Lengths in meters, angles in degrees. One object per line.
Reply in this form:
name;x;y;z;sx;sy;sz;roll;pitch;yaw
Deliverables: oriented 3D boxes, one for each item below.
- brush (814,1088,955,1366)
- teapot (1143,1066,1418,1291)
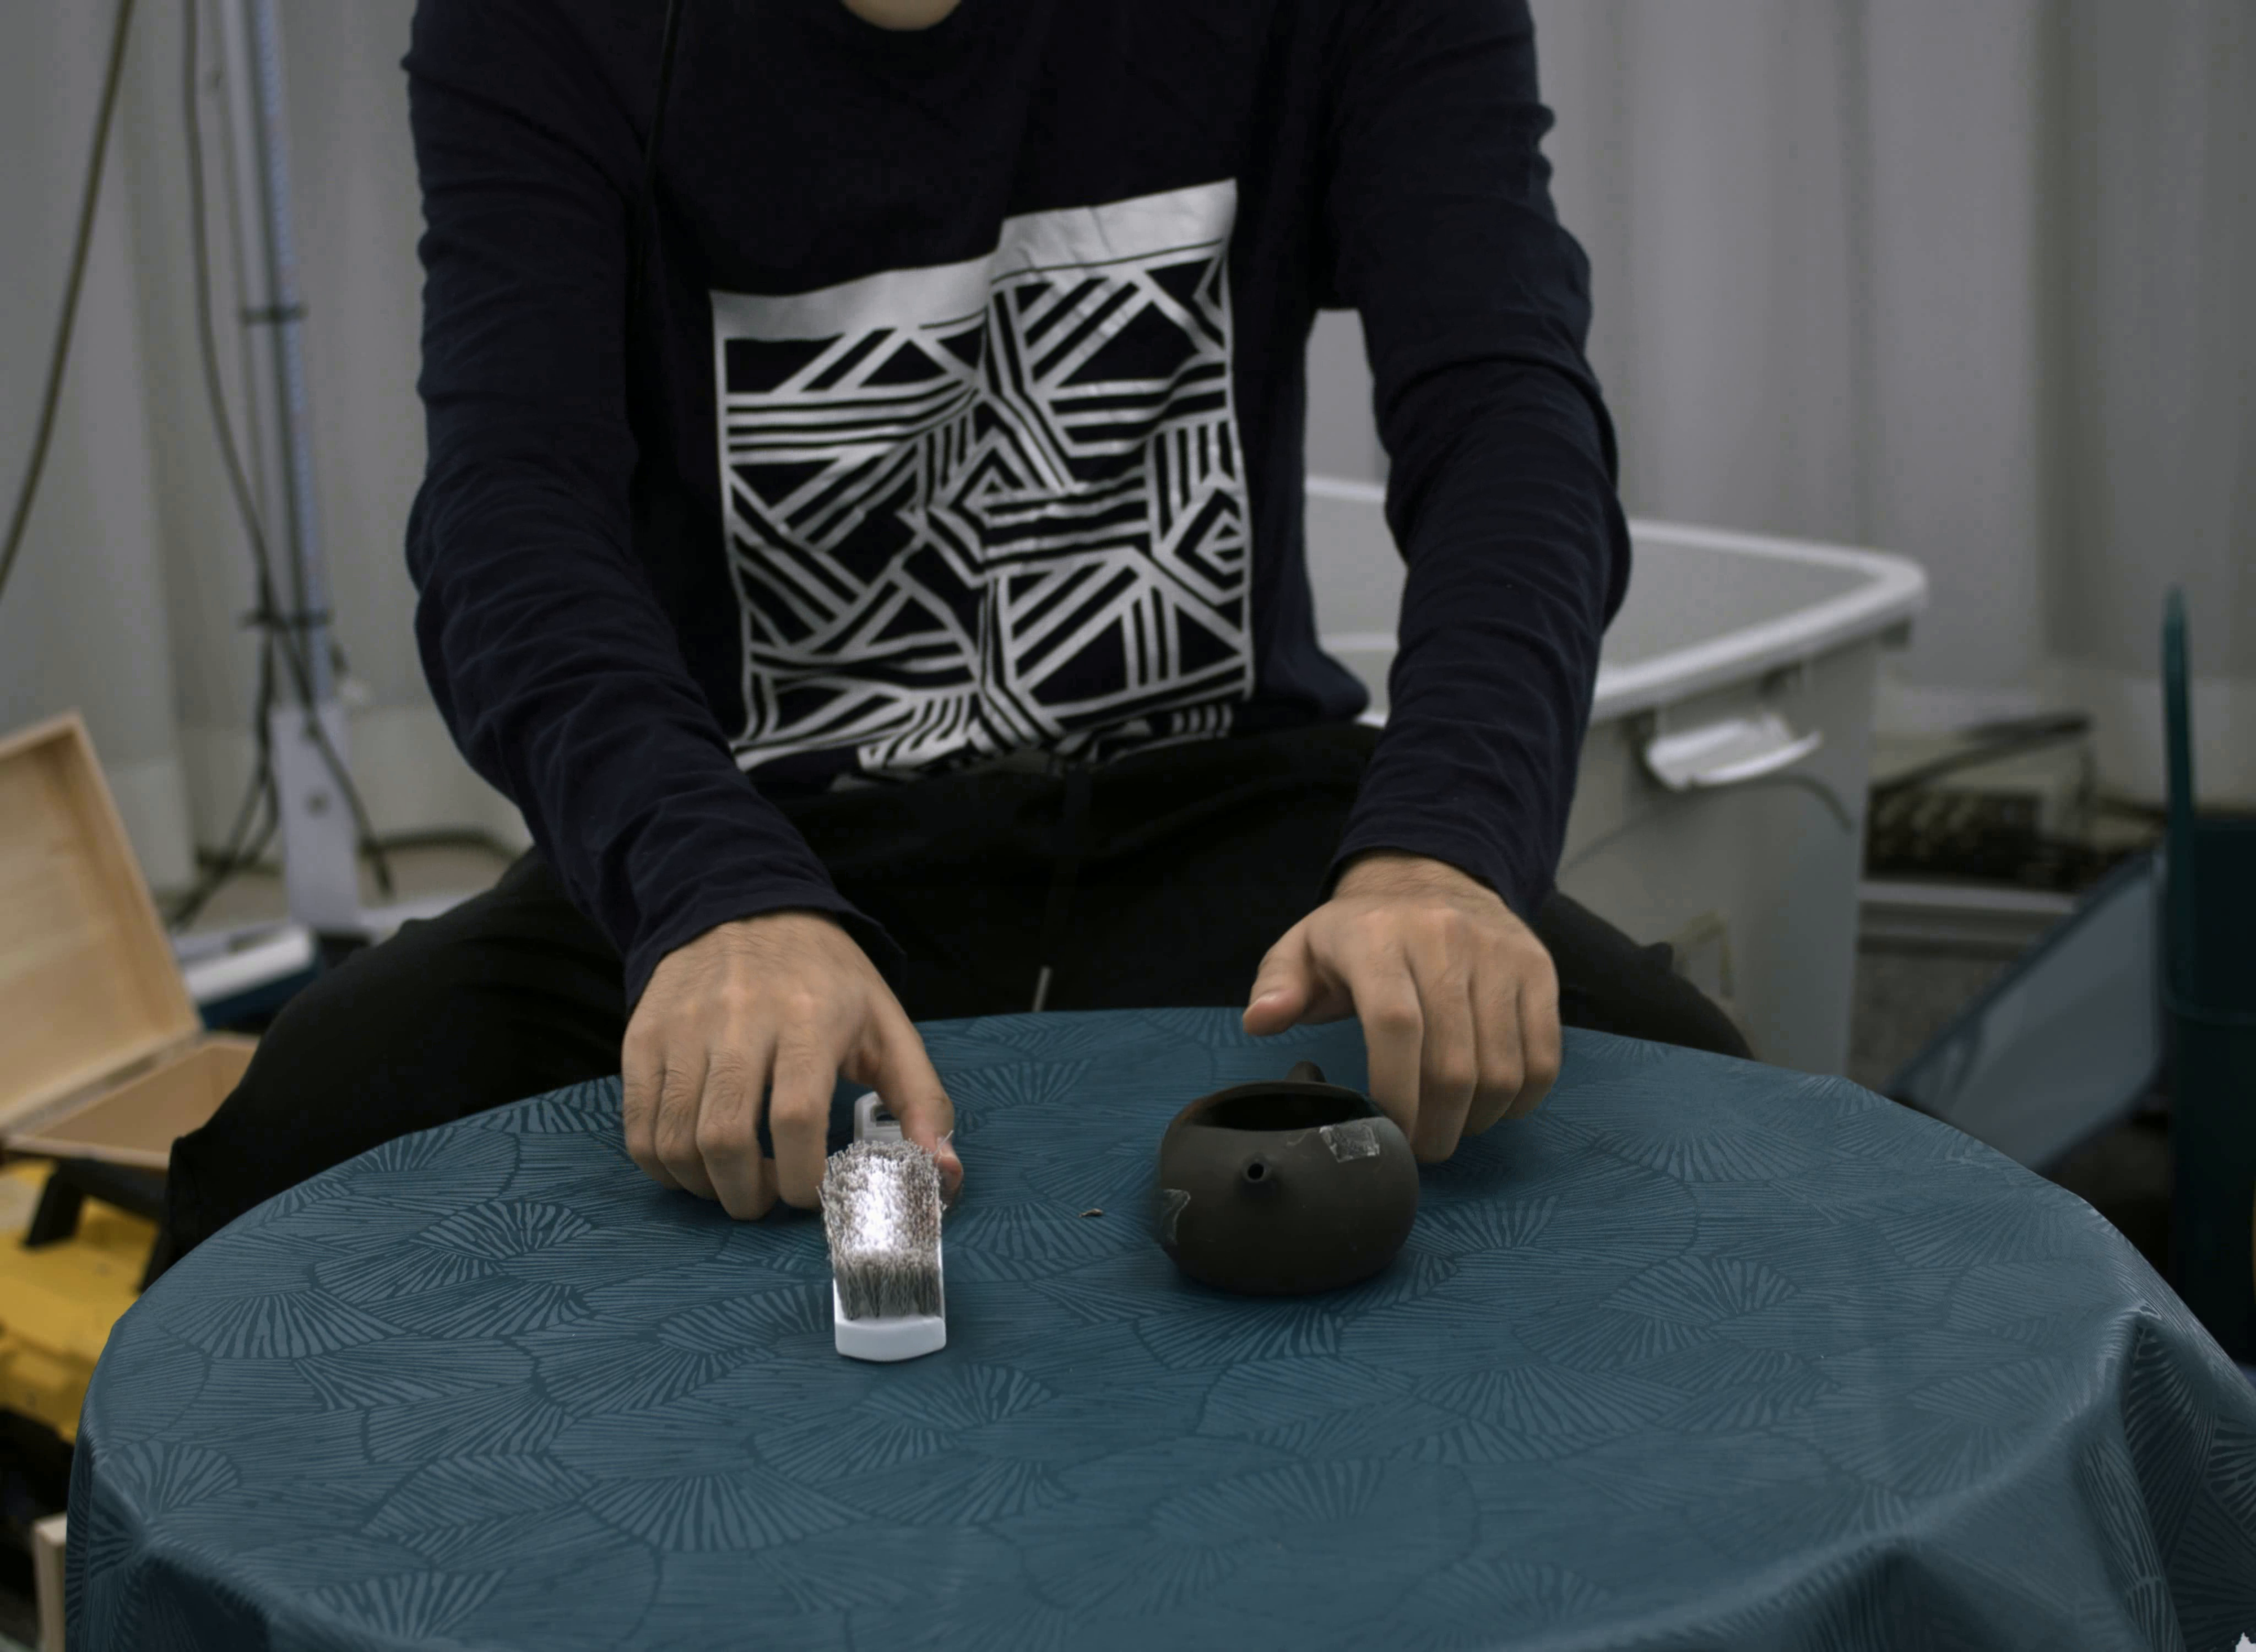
brush;-0.071;0.103;1.680;0.034;0.050;0.245;-7;15;2
teapot;0.048;0.104;1.648;0.083;0.053;0.114;-1;15;12
